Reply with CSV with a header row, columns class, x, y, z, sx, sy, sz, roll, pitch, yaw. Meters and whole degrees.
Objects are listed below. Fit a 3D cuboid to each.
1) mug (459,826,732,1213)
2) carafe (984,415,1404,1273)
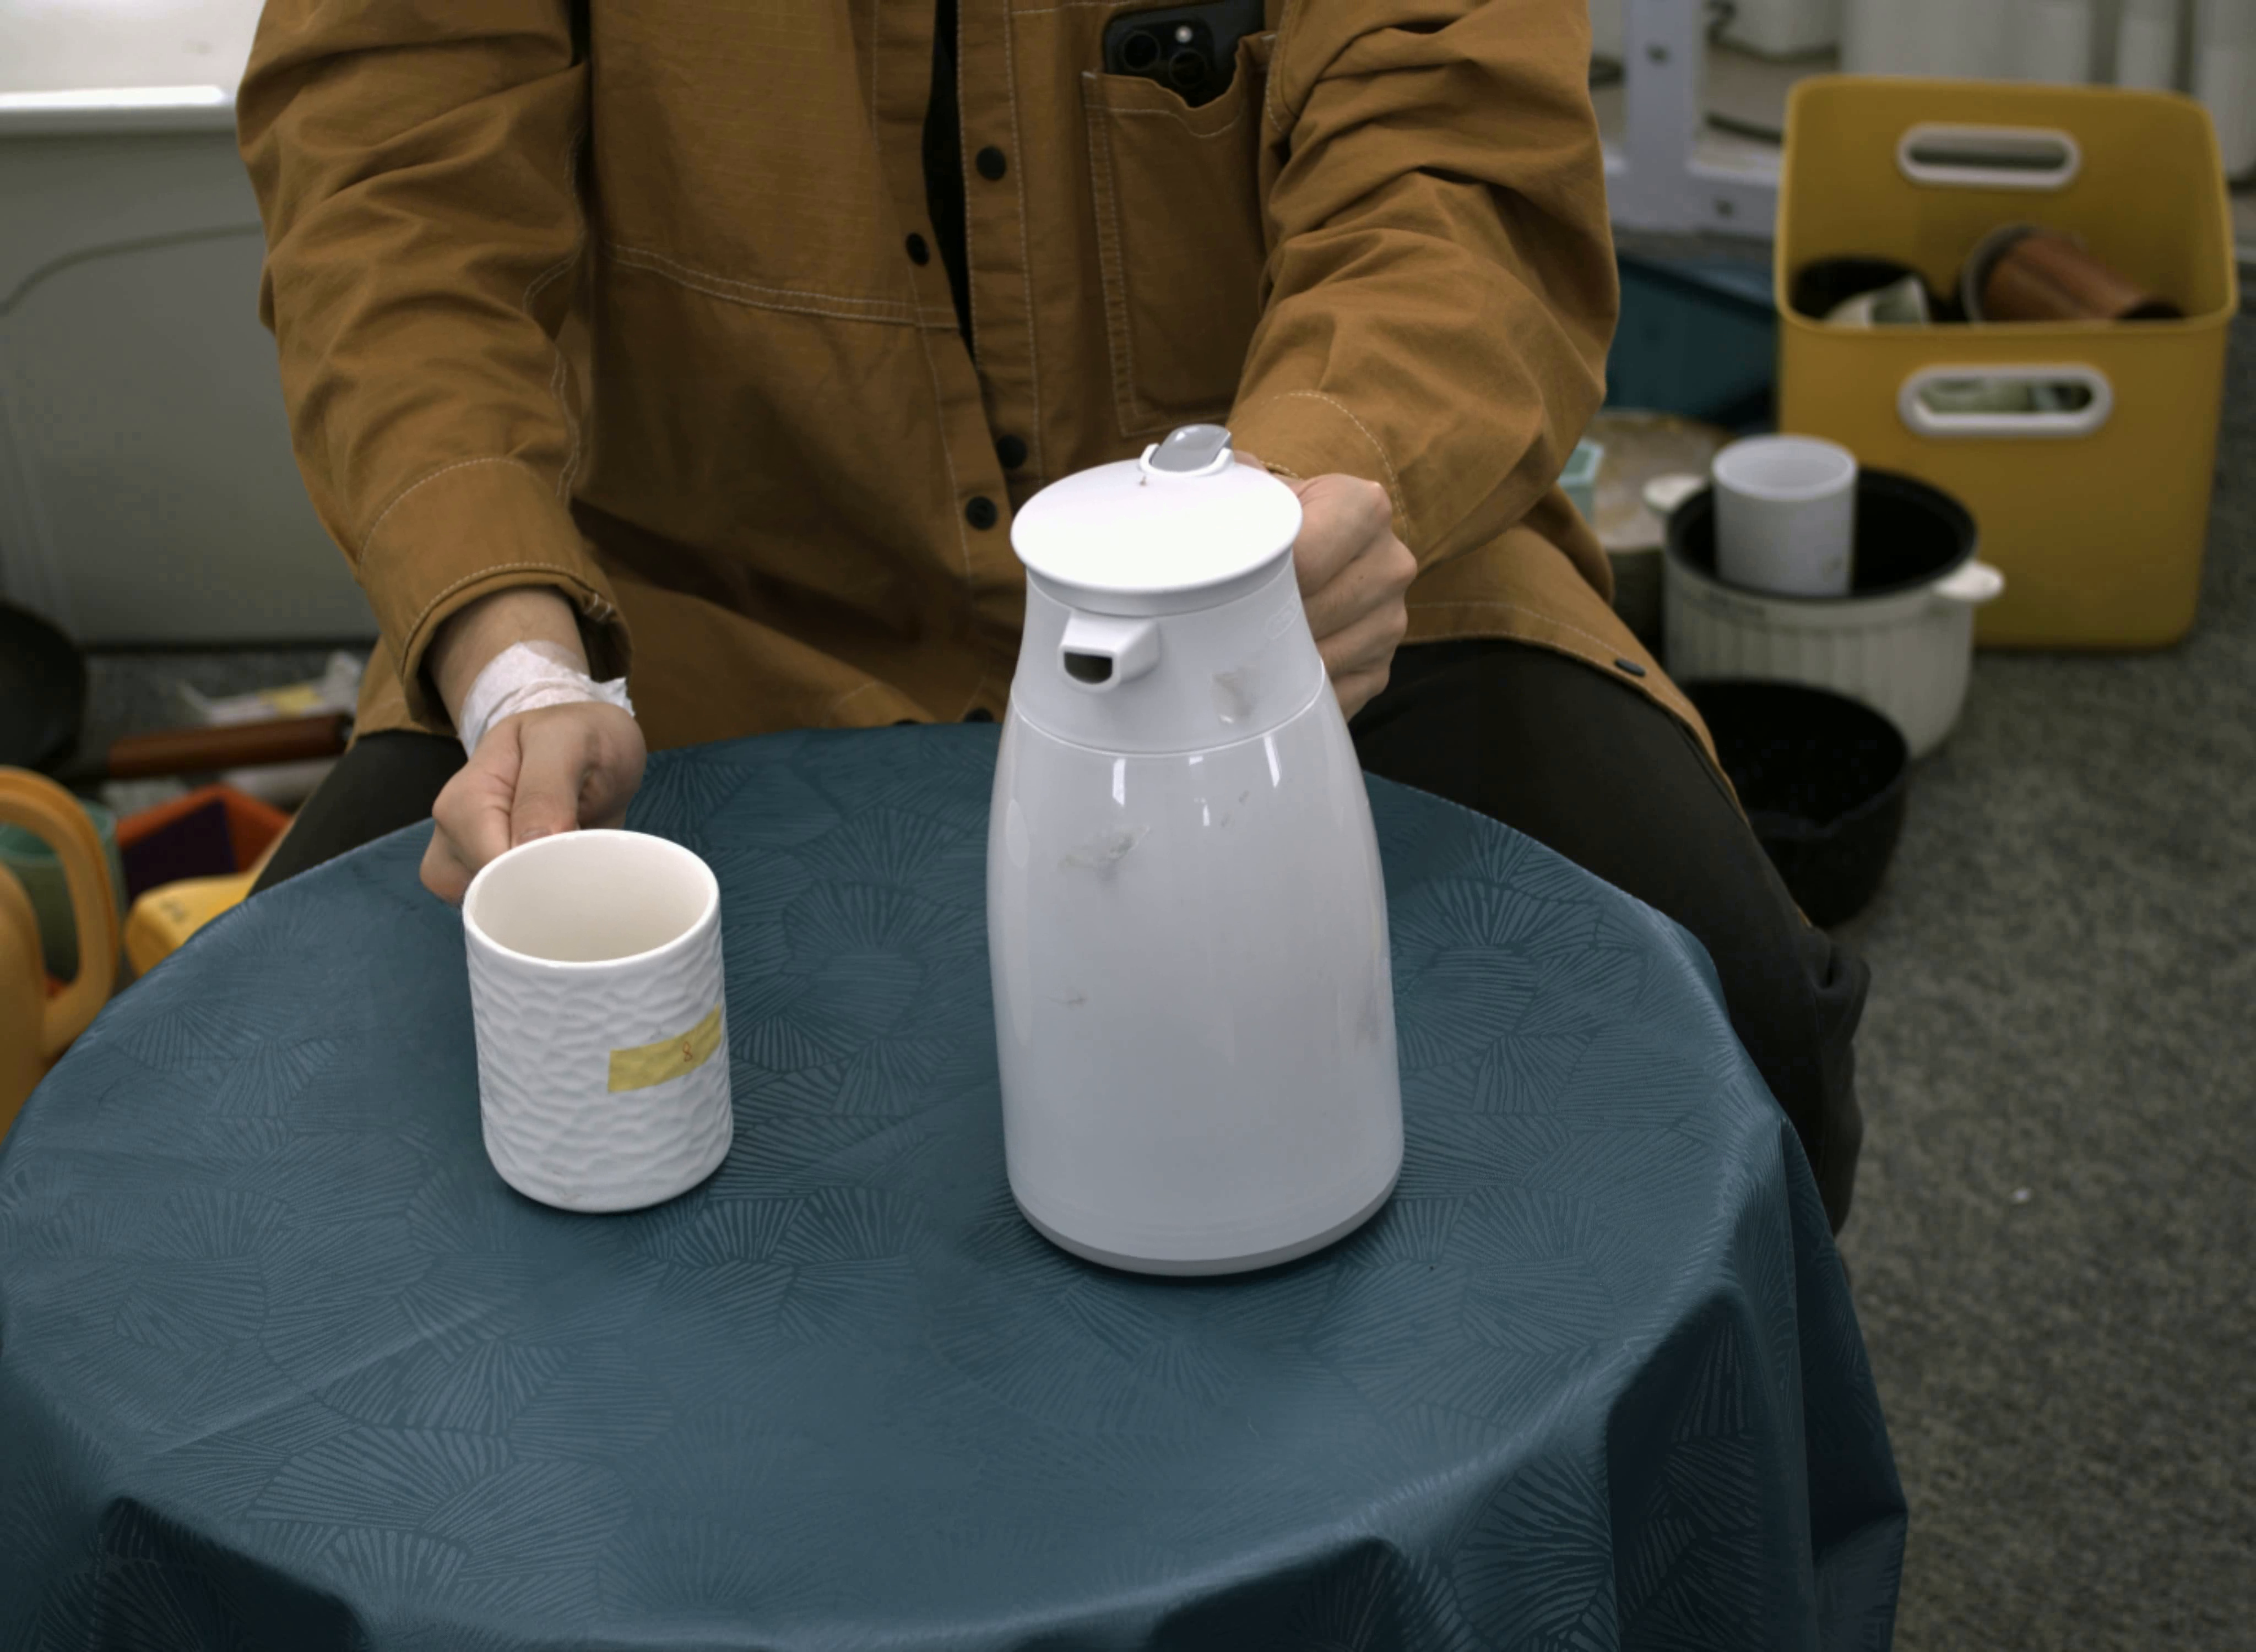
class,x,y,z,sx,sy,sz,roll,pitch,yaw
mug,-0.181,0.058,1.881,0.085,0.101,0.119,-12,32,-17
carafe,0.021,-0.005,1.818,0.131,0.246,0.170,5,29,19
